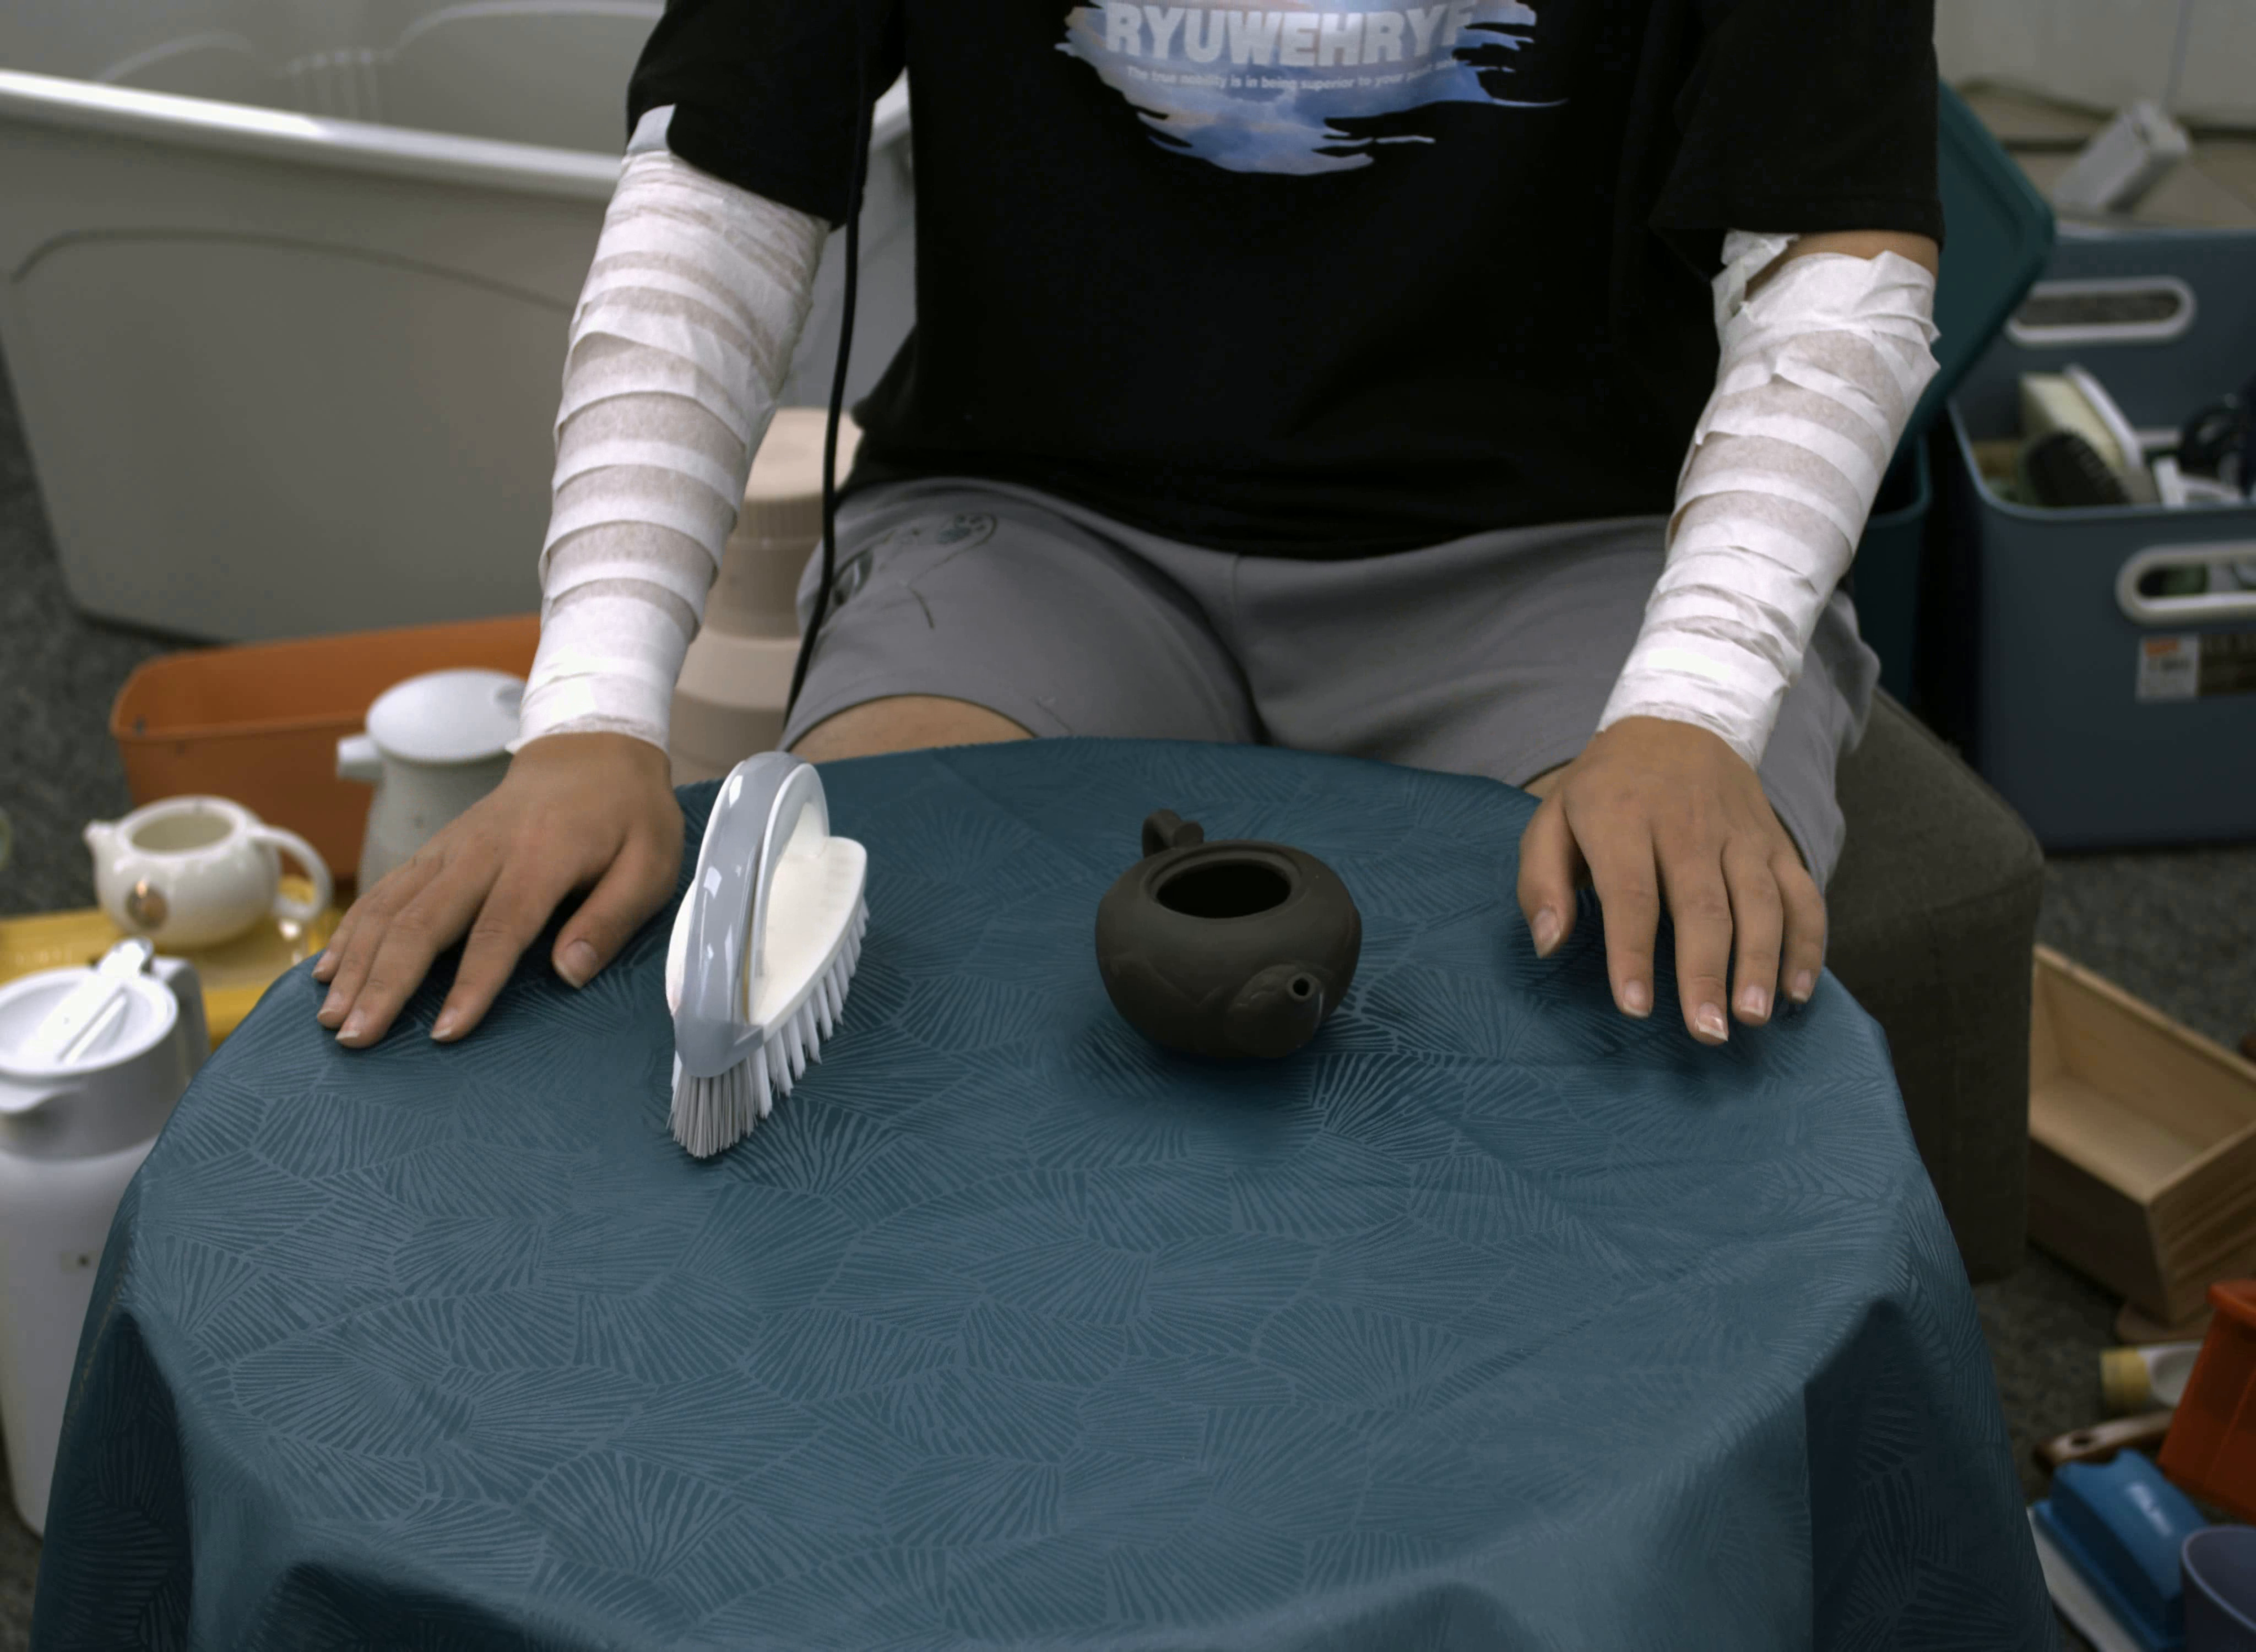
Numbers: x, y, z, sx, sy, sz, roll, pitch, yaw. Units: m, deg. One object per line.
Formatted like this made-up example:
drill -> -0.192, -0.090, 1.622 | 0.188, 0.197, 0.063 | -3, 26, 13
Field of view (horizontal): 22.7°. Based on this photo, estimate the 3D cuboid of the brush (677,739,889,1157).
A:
brush -> -0.128, 0.034, 1.946 | 0.061, 0.093, 0.178 | -3, 28, 12

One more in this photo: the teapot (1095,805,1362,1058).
teapot -> 0.034, 0.040, 1.946 | 0.092, 0.063, 0.155 | -11, 29, -16
